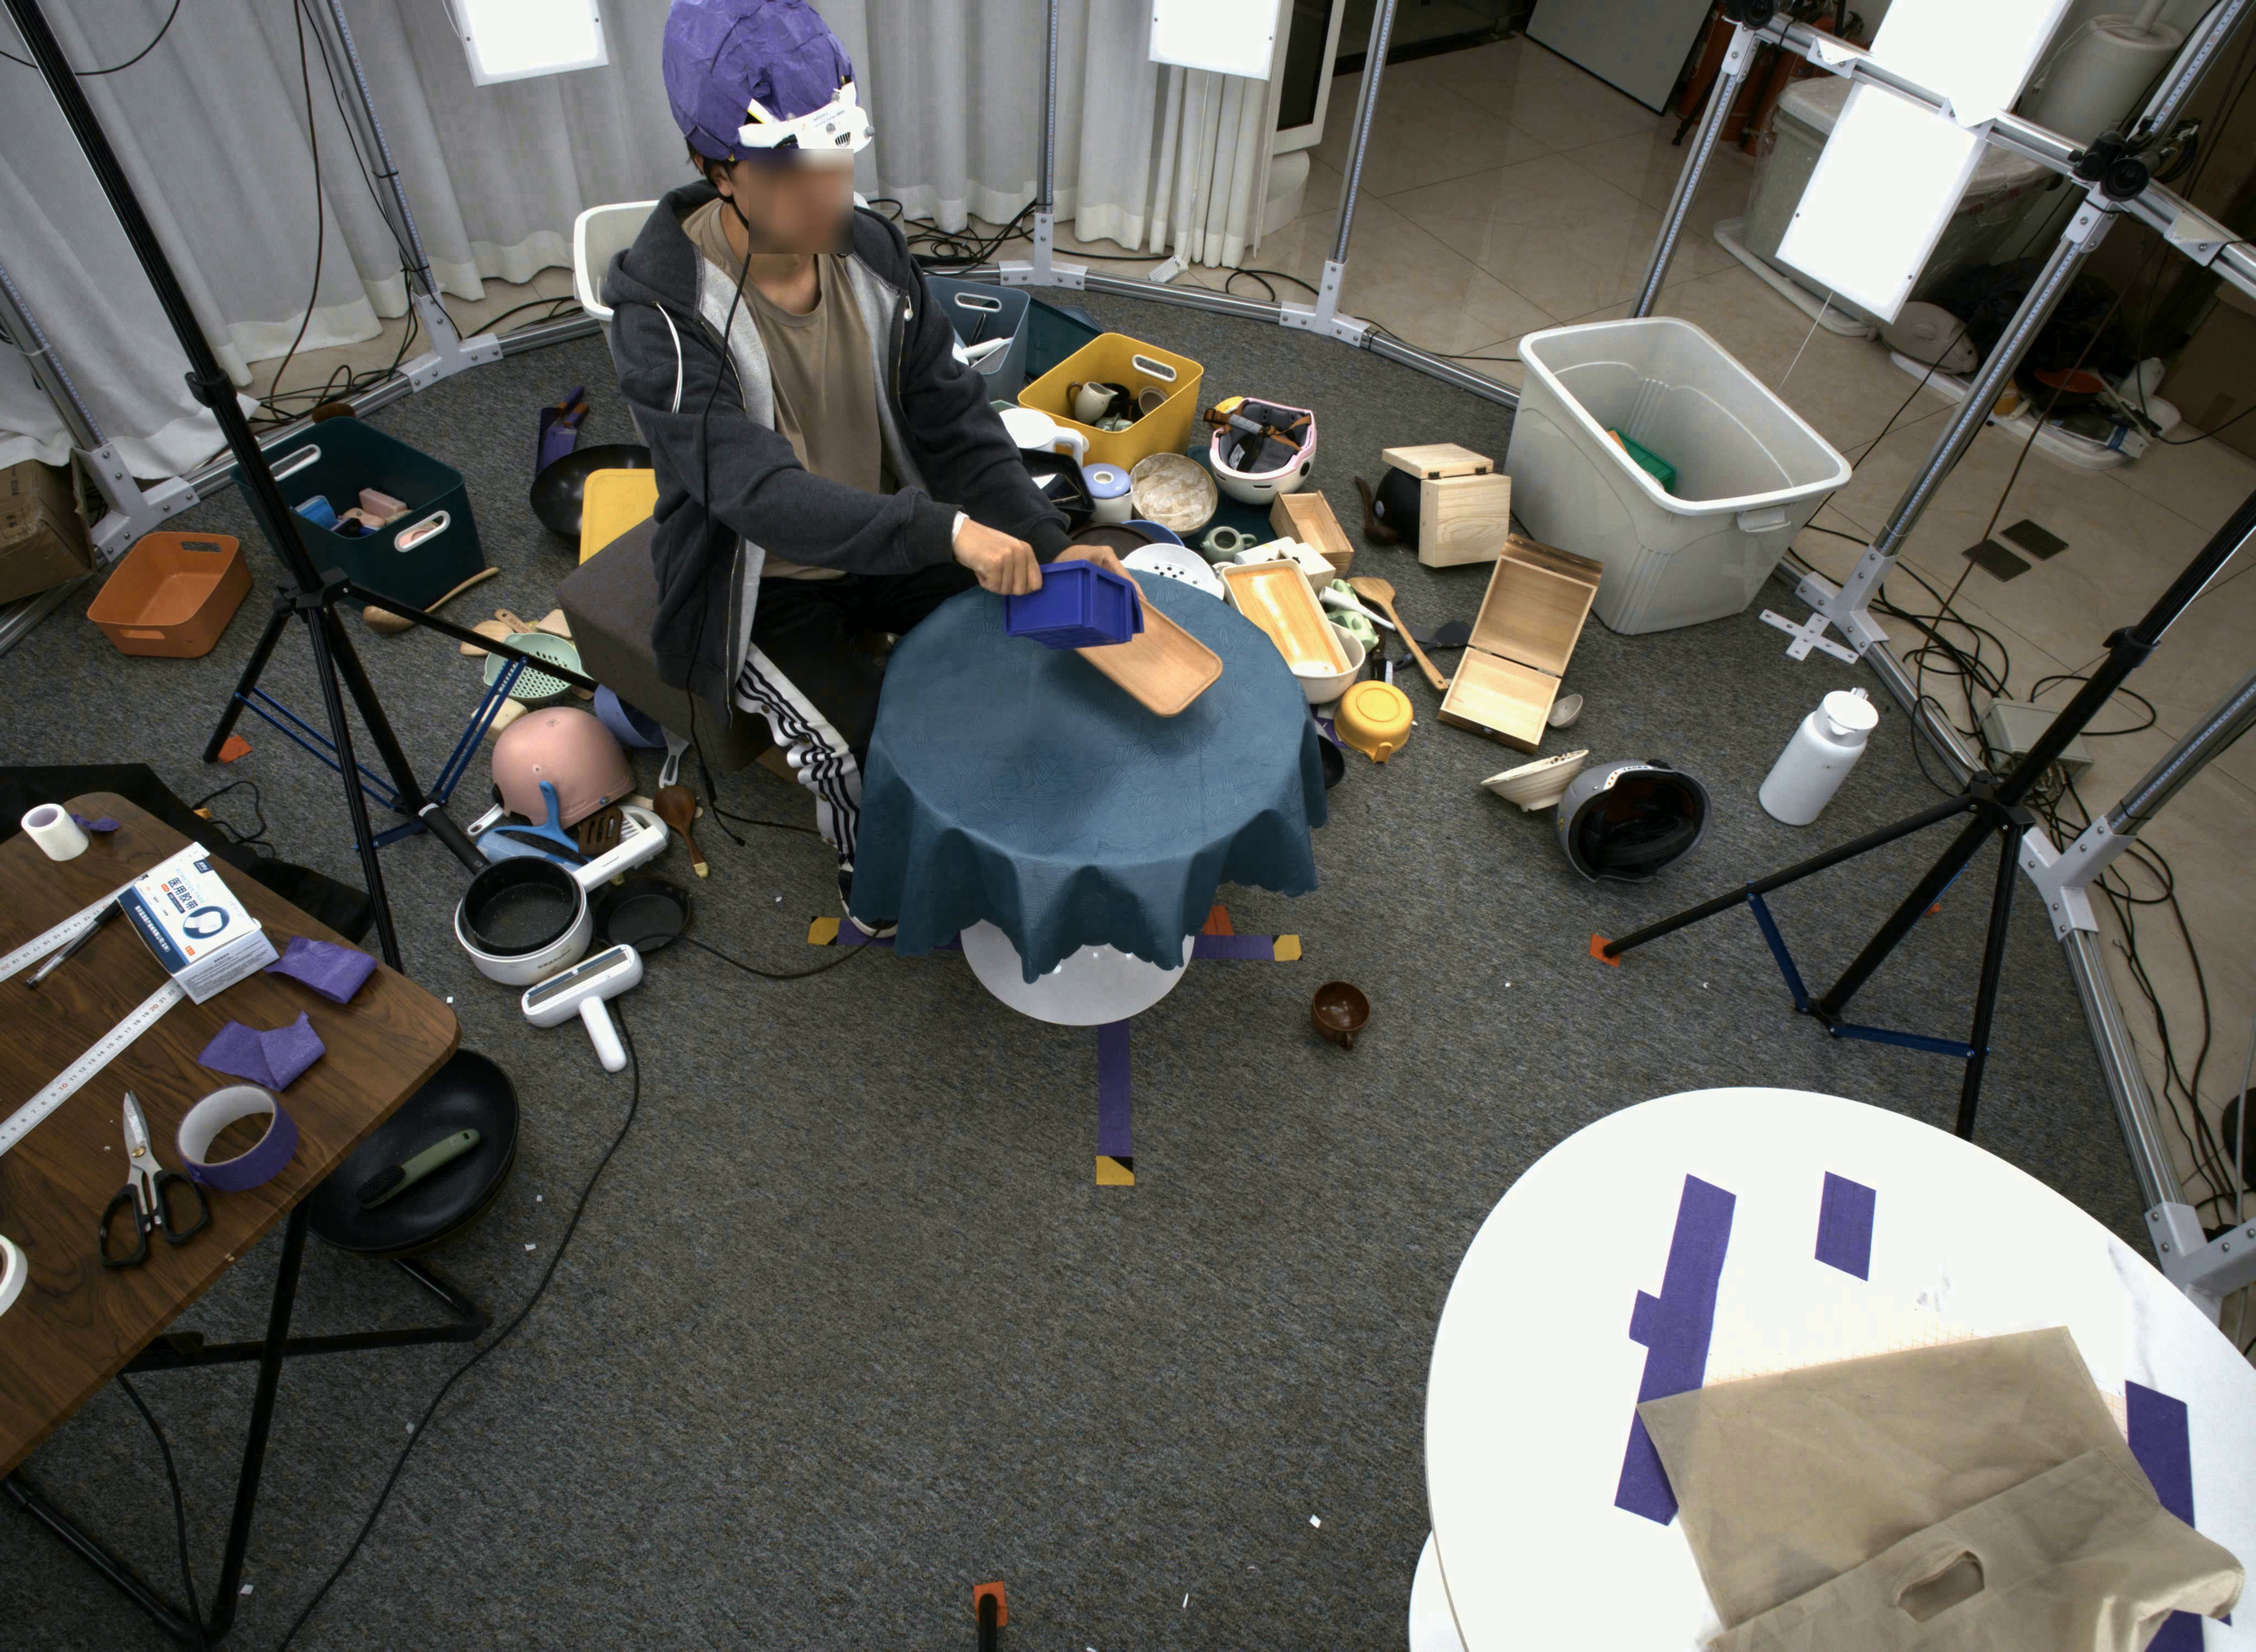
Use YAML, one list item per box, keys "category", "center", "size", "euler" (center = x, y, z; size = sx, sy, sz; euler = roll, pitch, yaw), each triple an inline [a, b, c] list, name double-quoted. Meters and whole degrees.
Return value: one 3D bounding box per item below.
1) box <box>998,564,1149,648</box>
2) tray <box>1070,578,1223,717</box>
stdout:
- category: "box"
  center: [-0.068, -0.278, 1.654]
  size: [0.125, 0.082, 0.179]
  euler: [-2, 1, 28]
- category: "tray"
  center: [0.011, -0.254, 1.806]
  size: [0.131, 0.022, 0.254]
  euler: [-40, 64, -20]
